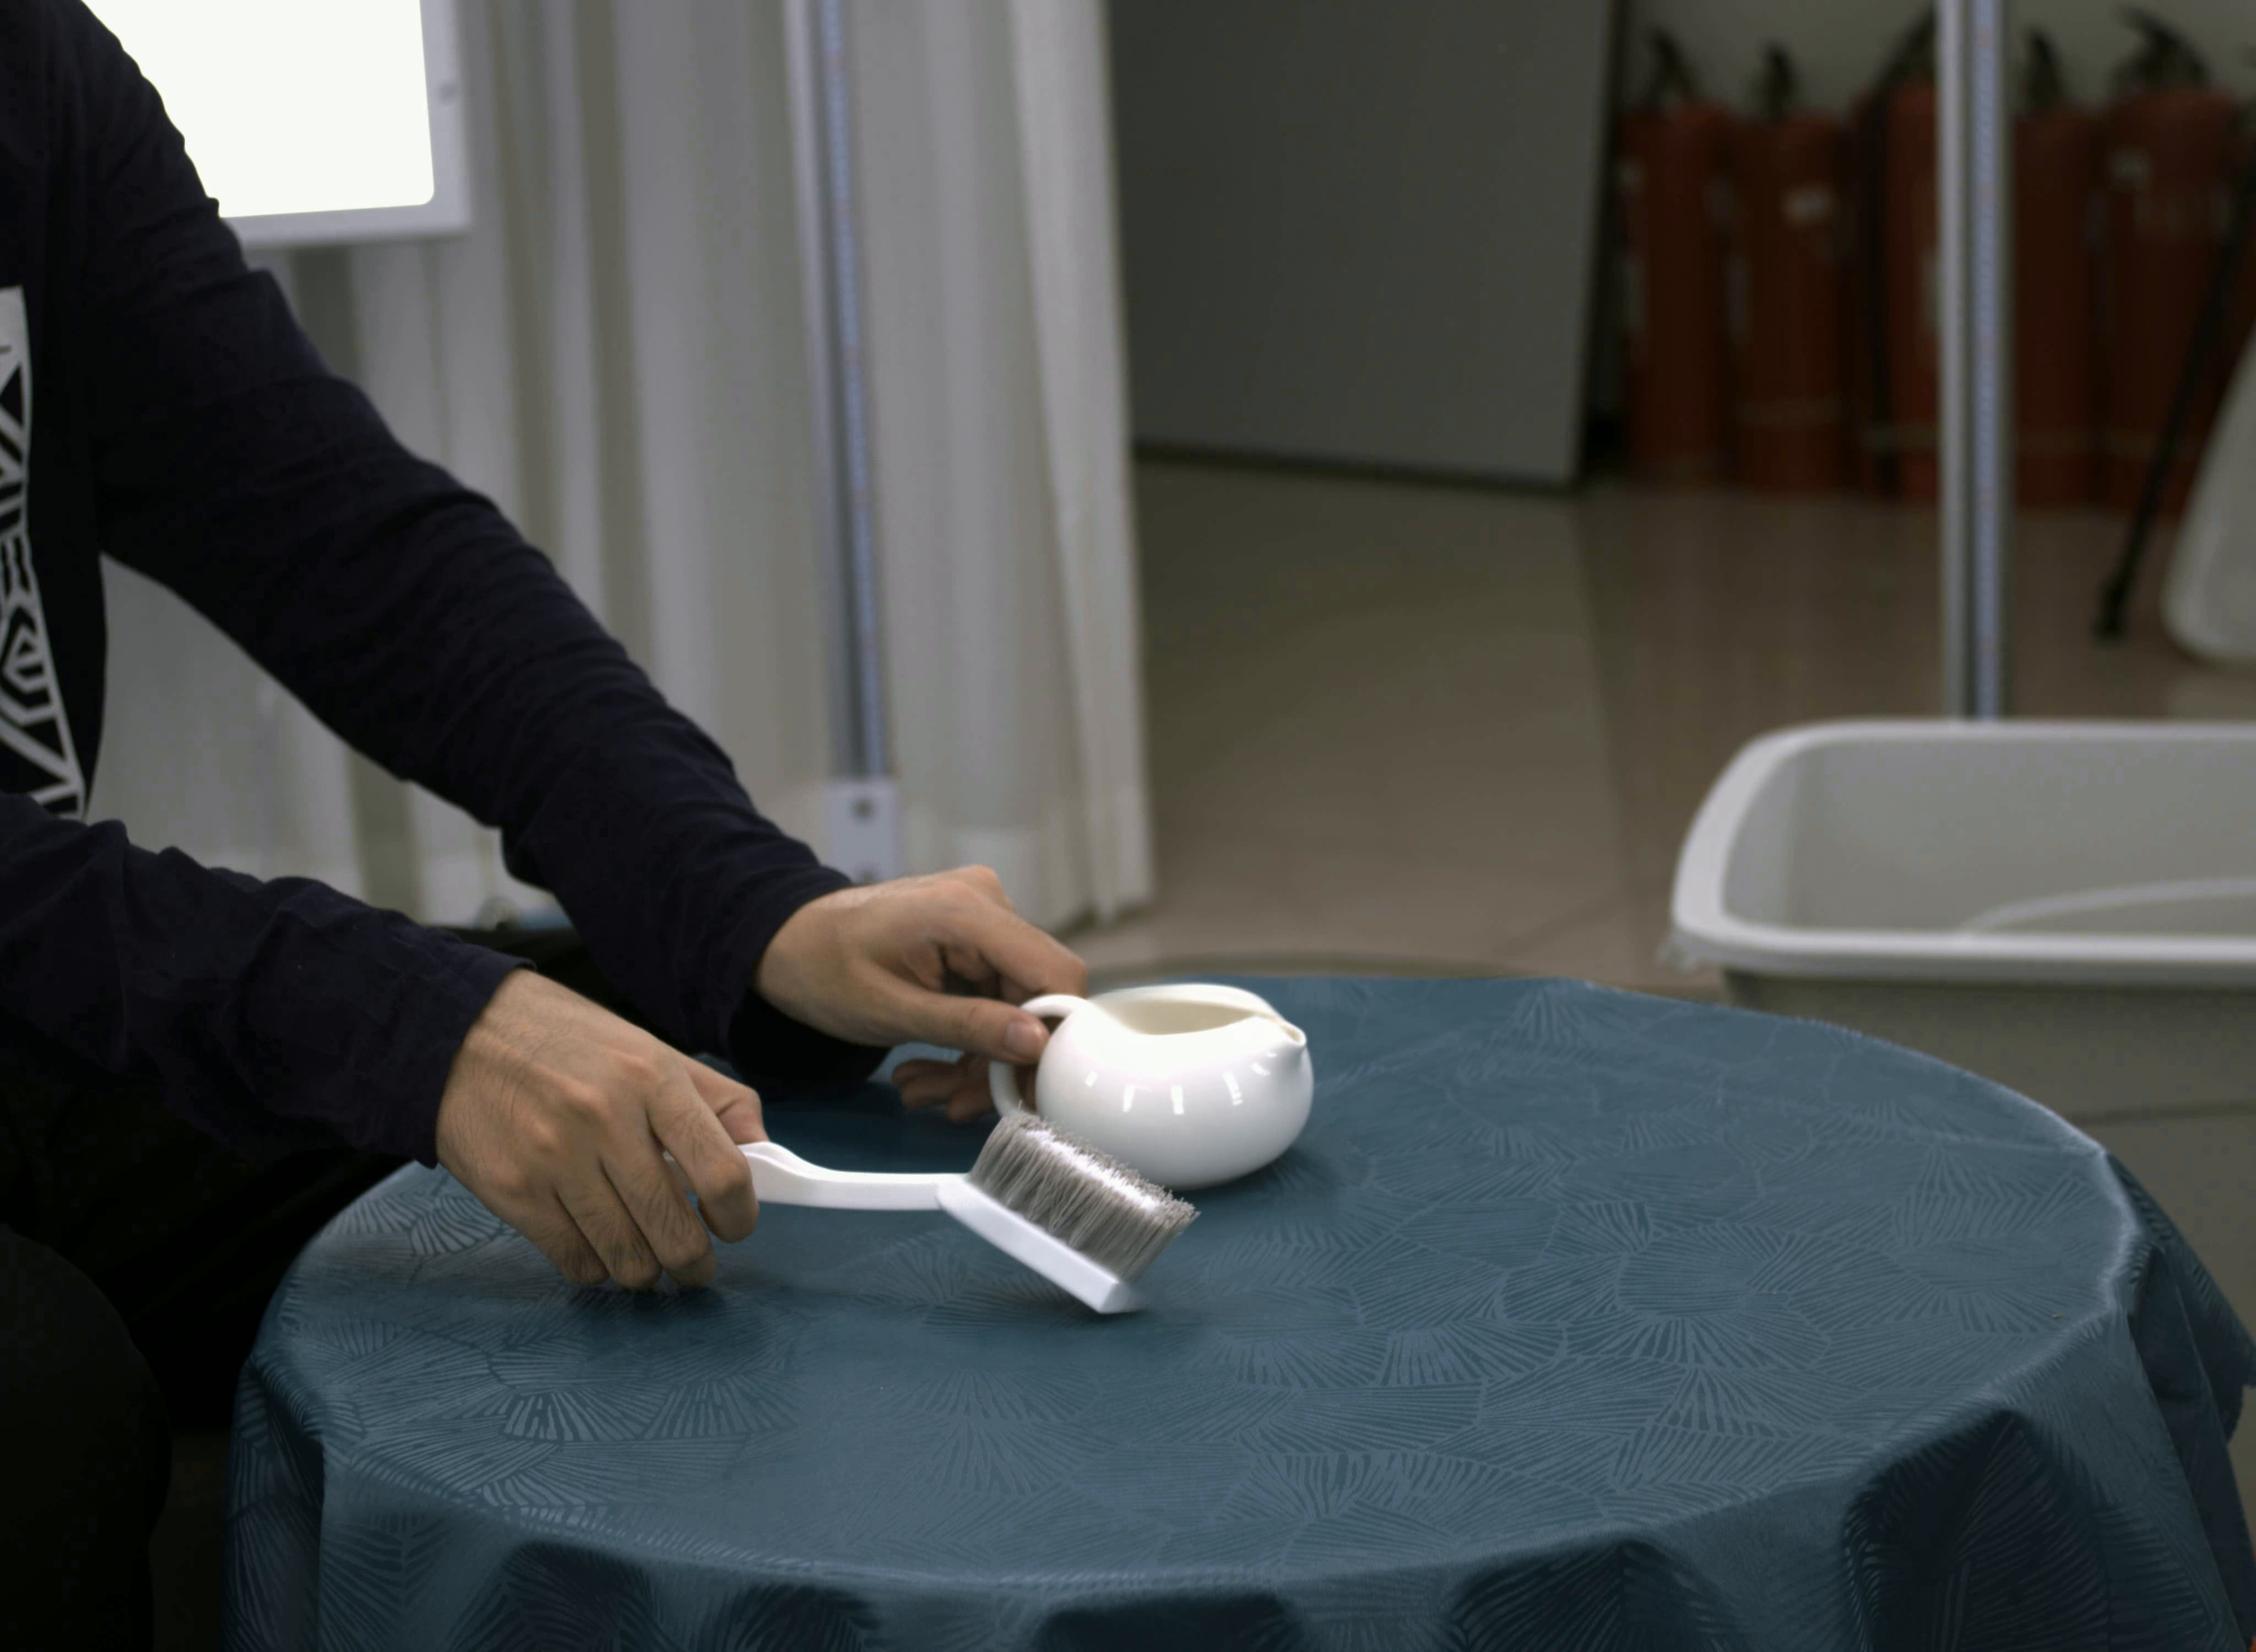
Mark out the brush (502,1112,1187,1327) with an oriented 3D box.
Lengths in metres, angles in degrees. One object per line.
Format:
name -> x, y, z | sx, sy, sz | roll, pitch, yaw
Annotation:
brush -> -0.093, 0.104, 1.698 | 0.244, 0.051, 0.034 | 14, 19, 27

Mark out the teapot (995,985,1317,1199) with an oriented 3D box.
teapot -> 0.008, 0.088, 1.797 | 0.128, 0.057, 0.092 | 2, 19, 31
